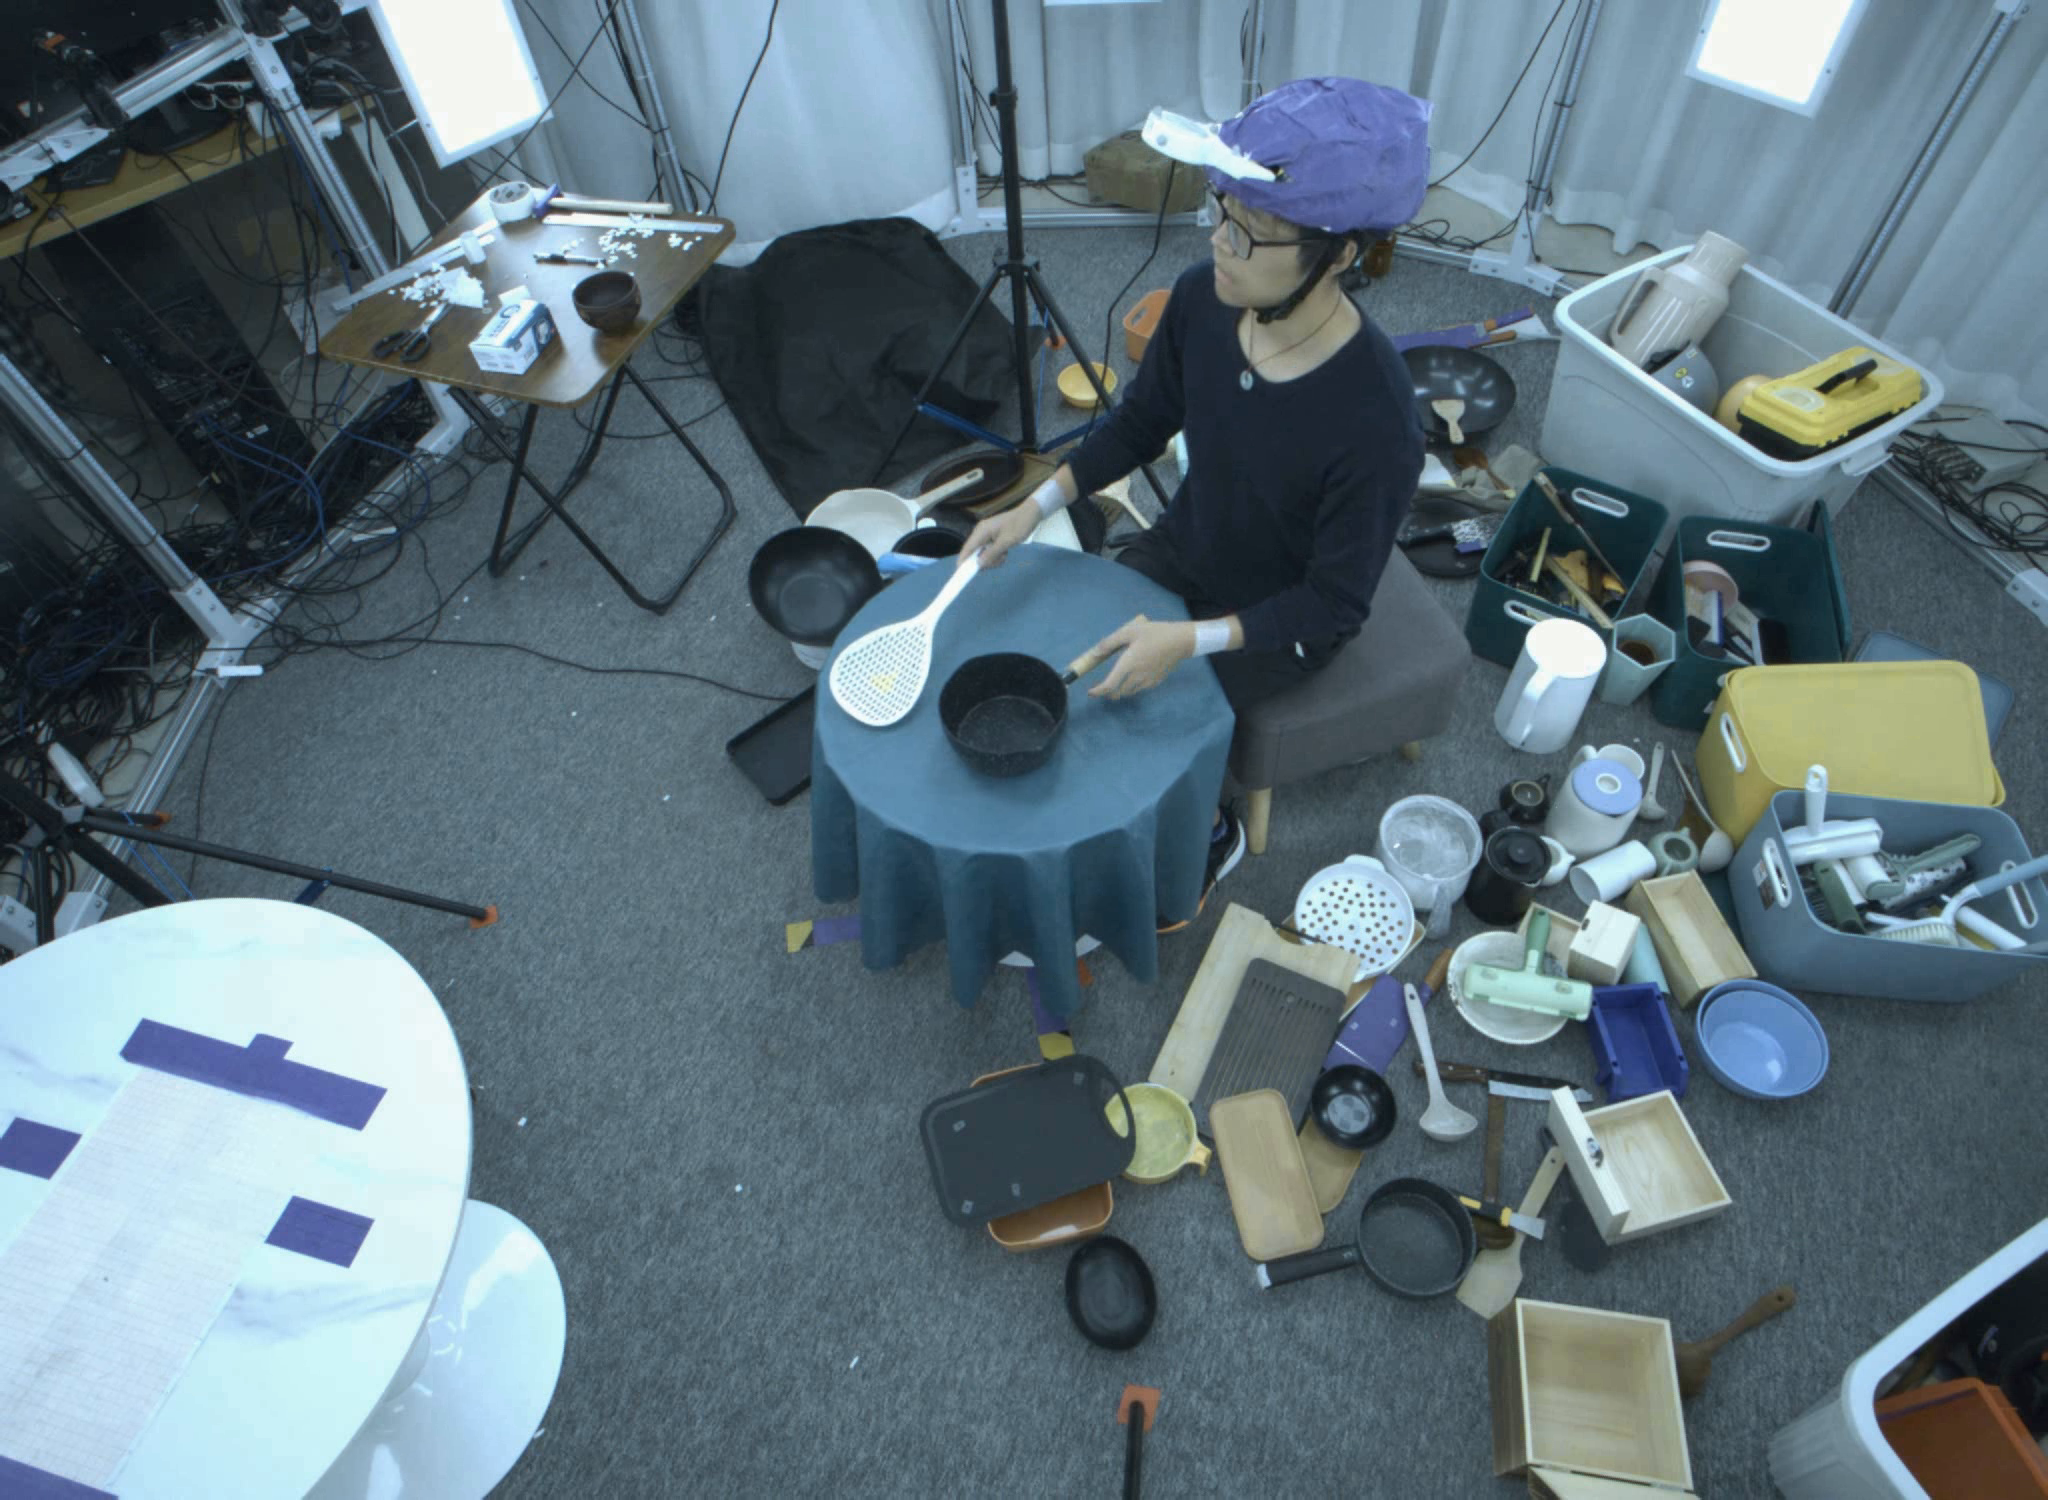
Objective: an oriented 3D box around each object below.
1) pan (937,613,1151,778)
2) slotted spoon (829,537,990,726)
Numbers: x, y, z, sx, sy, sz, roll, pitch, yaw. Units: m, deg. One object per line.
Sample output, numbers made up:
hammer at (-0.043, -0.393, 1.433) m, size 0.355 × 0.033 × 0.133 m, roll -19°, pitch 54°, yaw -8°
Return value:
pan at (0.038, -0.089, 1.782) m, size 0.345 × 0.109 × 0.203 m, roll -30°, pitch 58°, yaw -16°
slotted spoon at (-0.154, -0.187, 1.850) m, size 0.136 × 0.050 × 0.348 m, roll 36°, pitch 83°, yaw 3°
